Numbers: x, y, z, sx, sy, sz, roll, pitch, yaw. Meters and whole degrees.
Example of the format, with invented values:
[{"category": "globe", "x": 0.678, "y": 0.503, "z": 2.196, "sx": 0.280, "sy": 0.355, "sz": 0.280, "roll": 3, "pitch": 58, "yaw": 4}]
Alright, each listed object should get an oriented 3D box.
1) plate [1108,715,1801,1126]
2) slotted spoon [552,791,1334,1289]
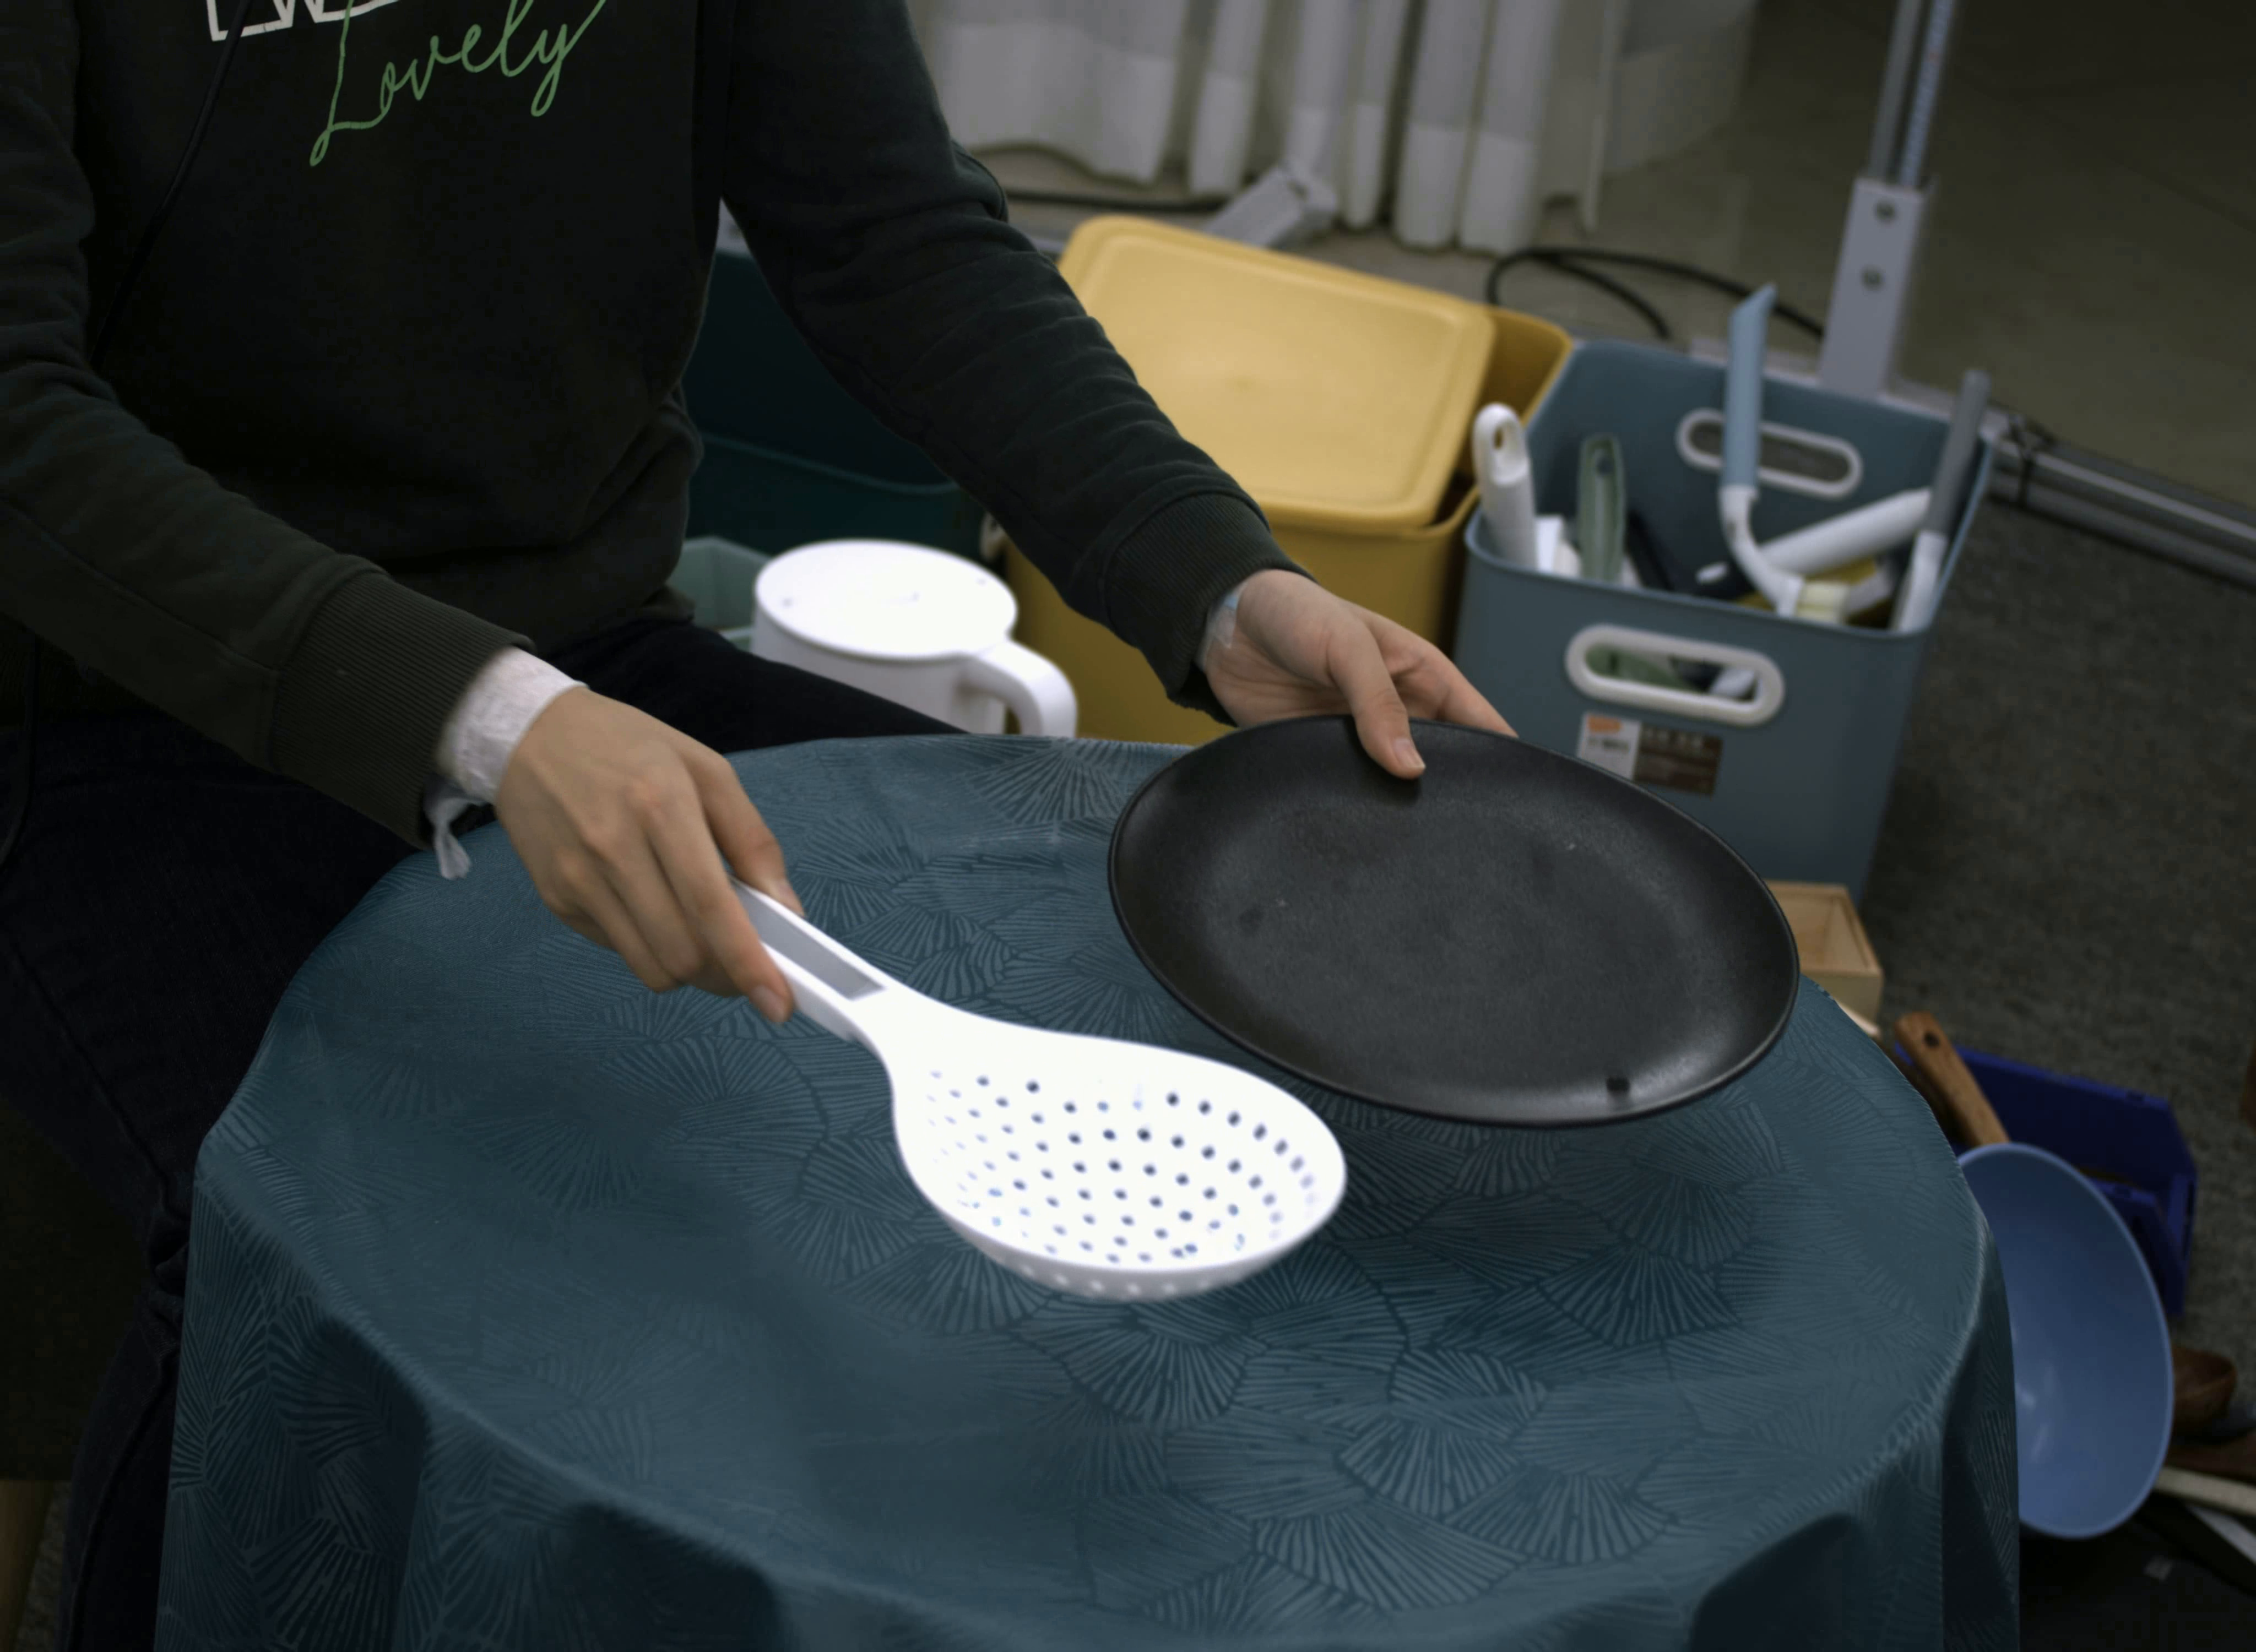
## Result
[{"category": "plate", "x": 0.111, "y": 0.035, "z": 1.838, "sx": 0.243, "sy": 0.023, "sz": 0.246, "roll": 7, "pitch": 32, "yaw": -5}, {"category": "slotted spoon", "x": -0.075, "y": 0.062, "z": 1.697, "sx": 0.135, "sy": 0.045, "sz": 0.353, "roll": -16, "pitch": 37, "yaw": -38}]
